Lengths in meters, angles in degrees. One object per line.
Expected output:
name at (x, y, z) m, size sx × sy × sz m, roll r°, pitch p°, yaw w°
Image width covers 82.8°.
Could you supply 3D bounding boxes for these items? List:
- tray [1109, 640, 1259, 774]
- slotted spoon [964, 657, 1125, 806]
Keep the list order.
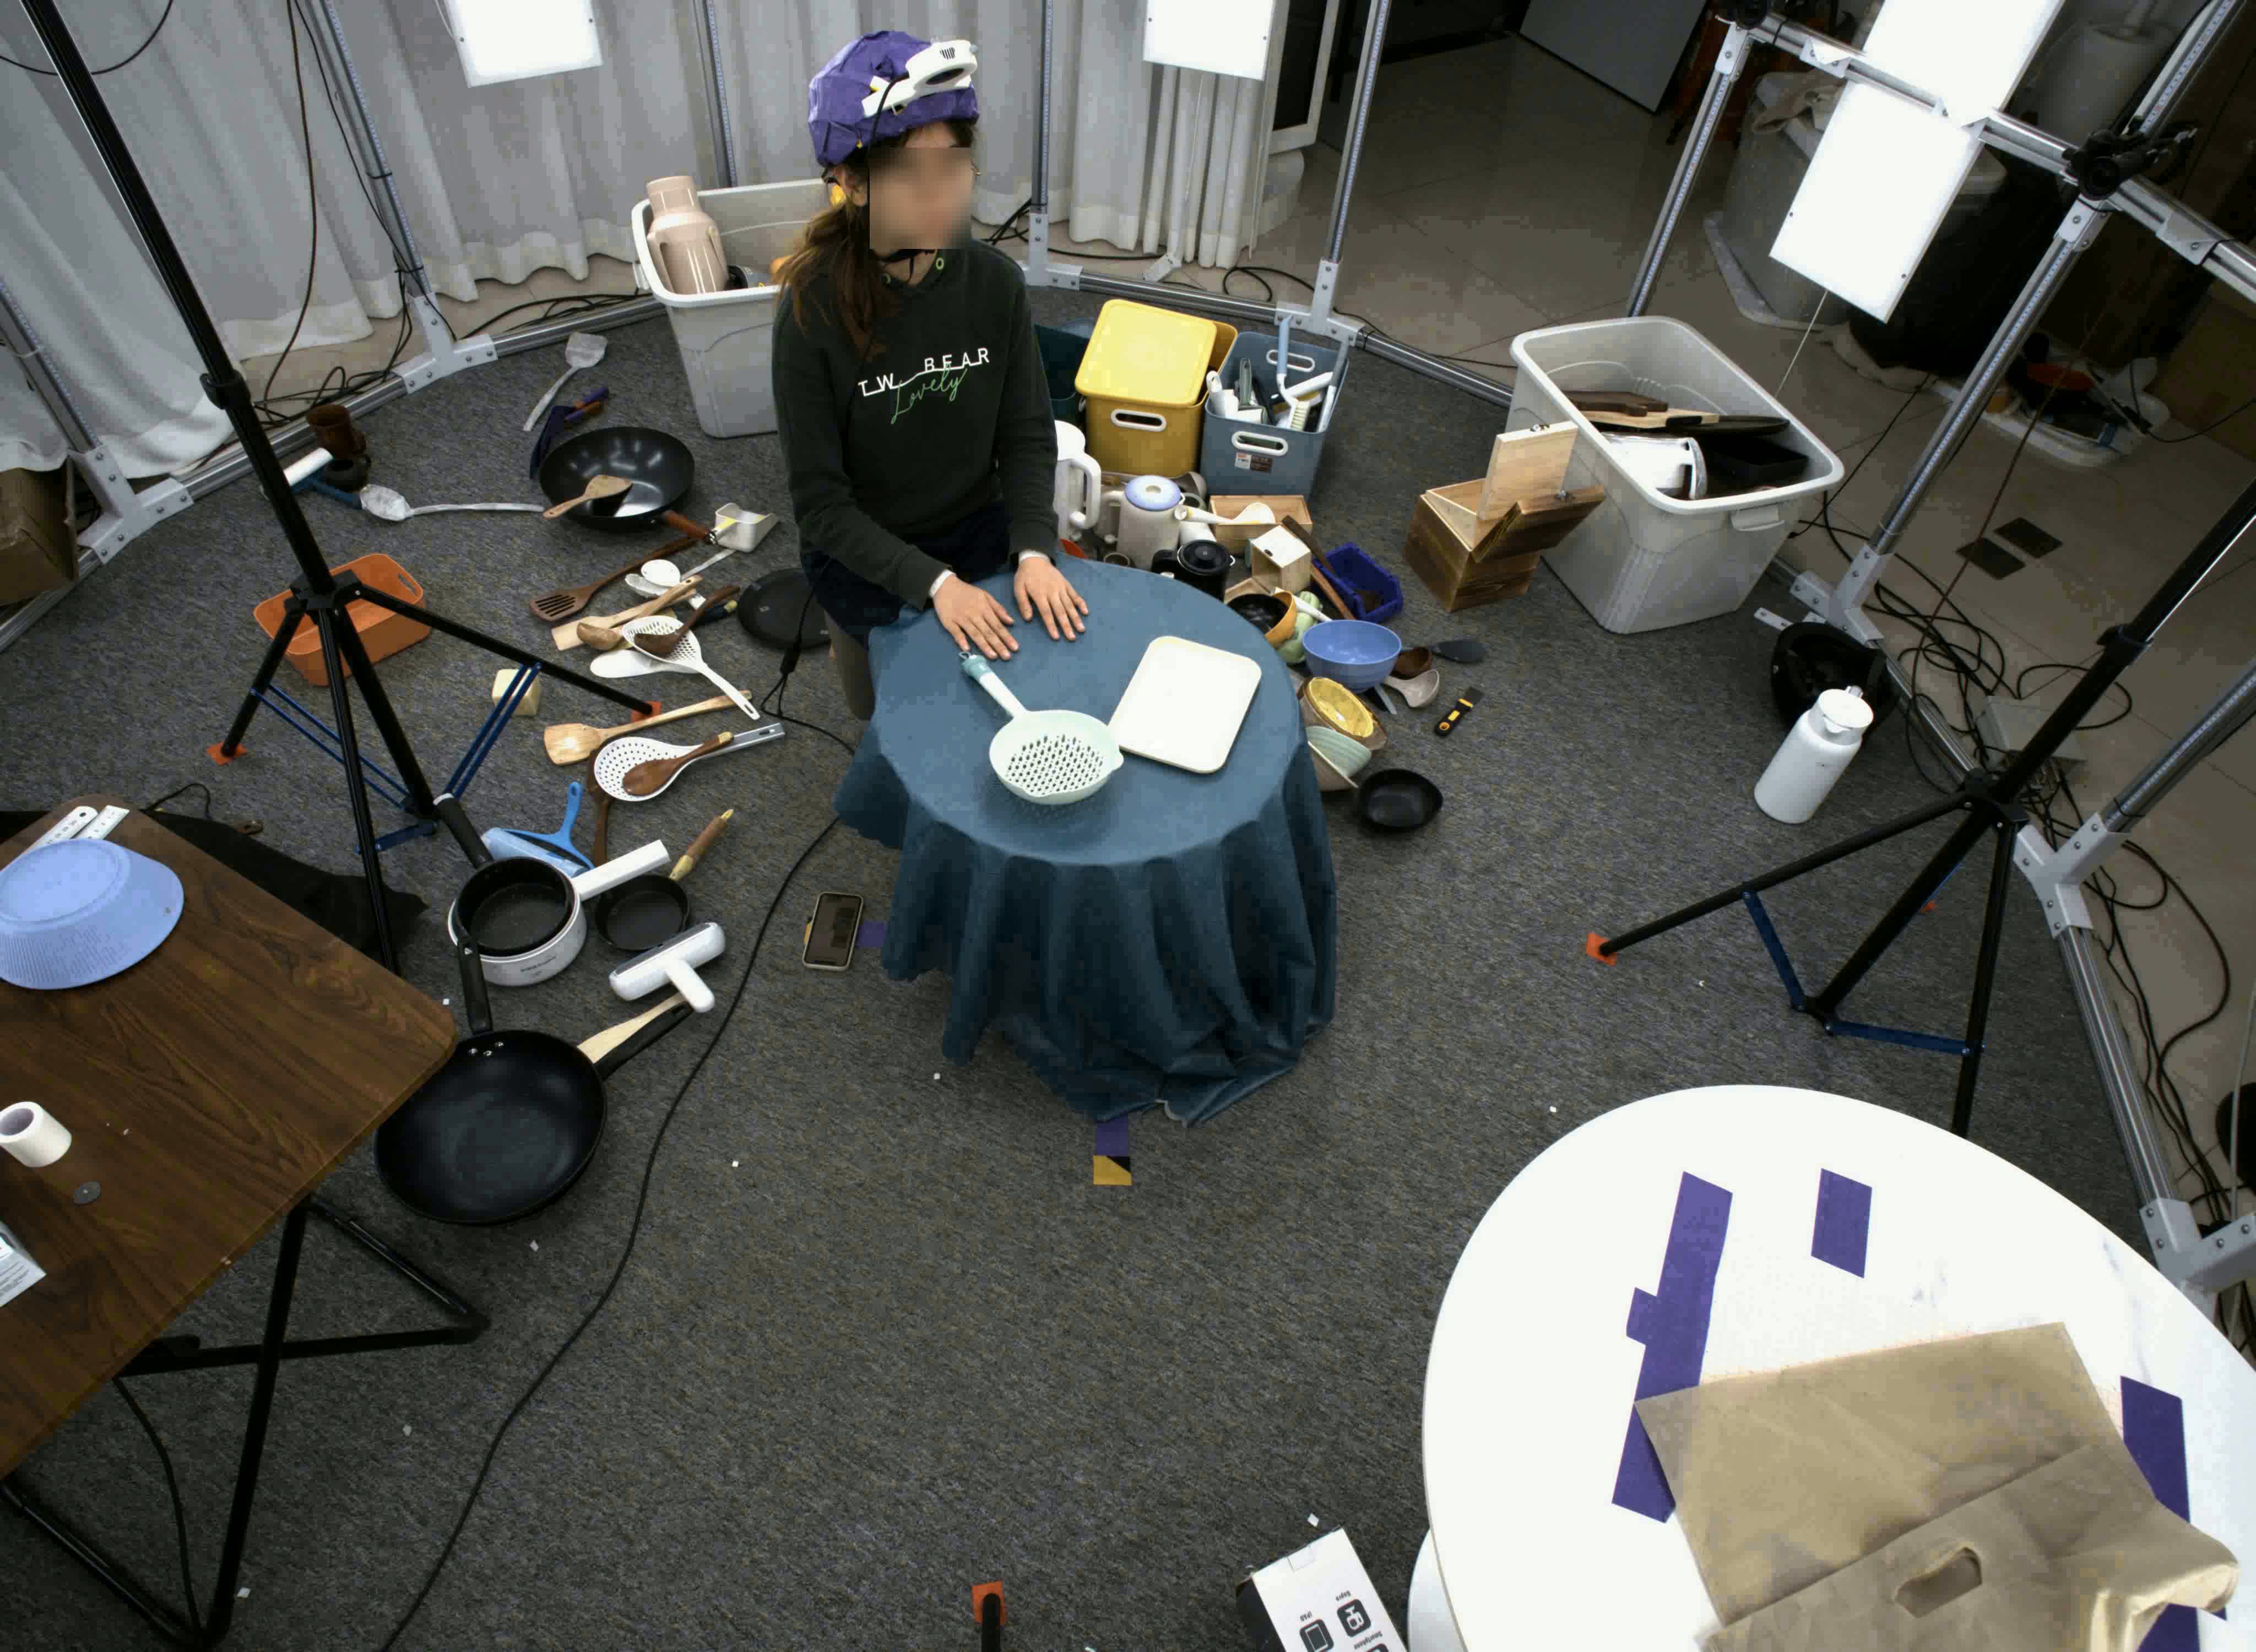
tray at (0.081, -0.171, 1.828) m, size 0.172 × 0.017 × 0.244 m, roll 17°, pitch 49°, yaw 10°
slotted spoon at (-0.144, -0.146, 1.761) m, size 0.170 × 0.073 × 0.366 m, roll -21°, pitch 53°, yaw -22°
